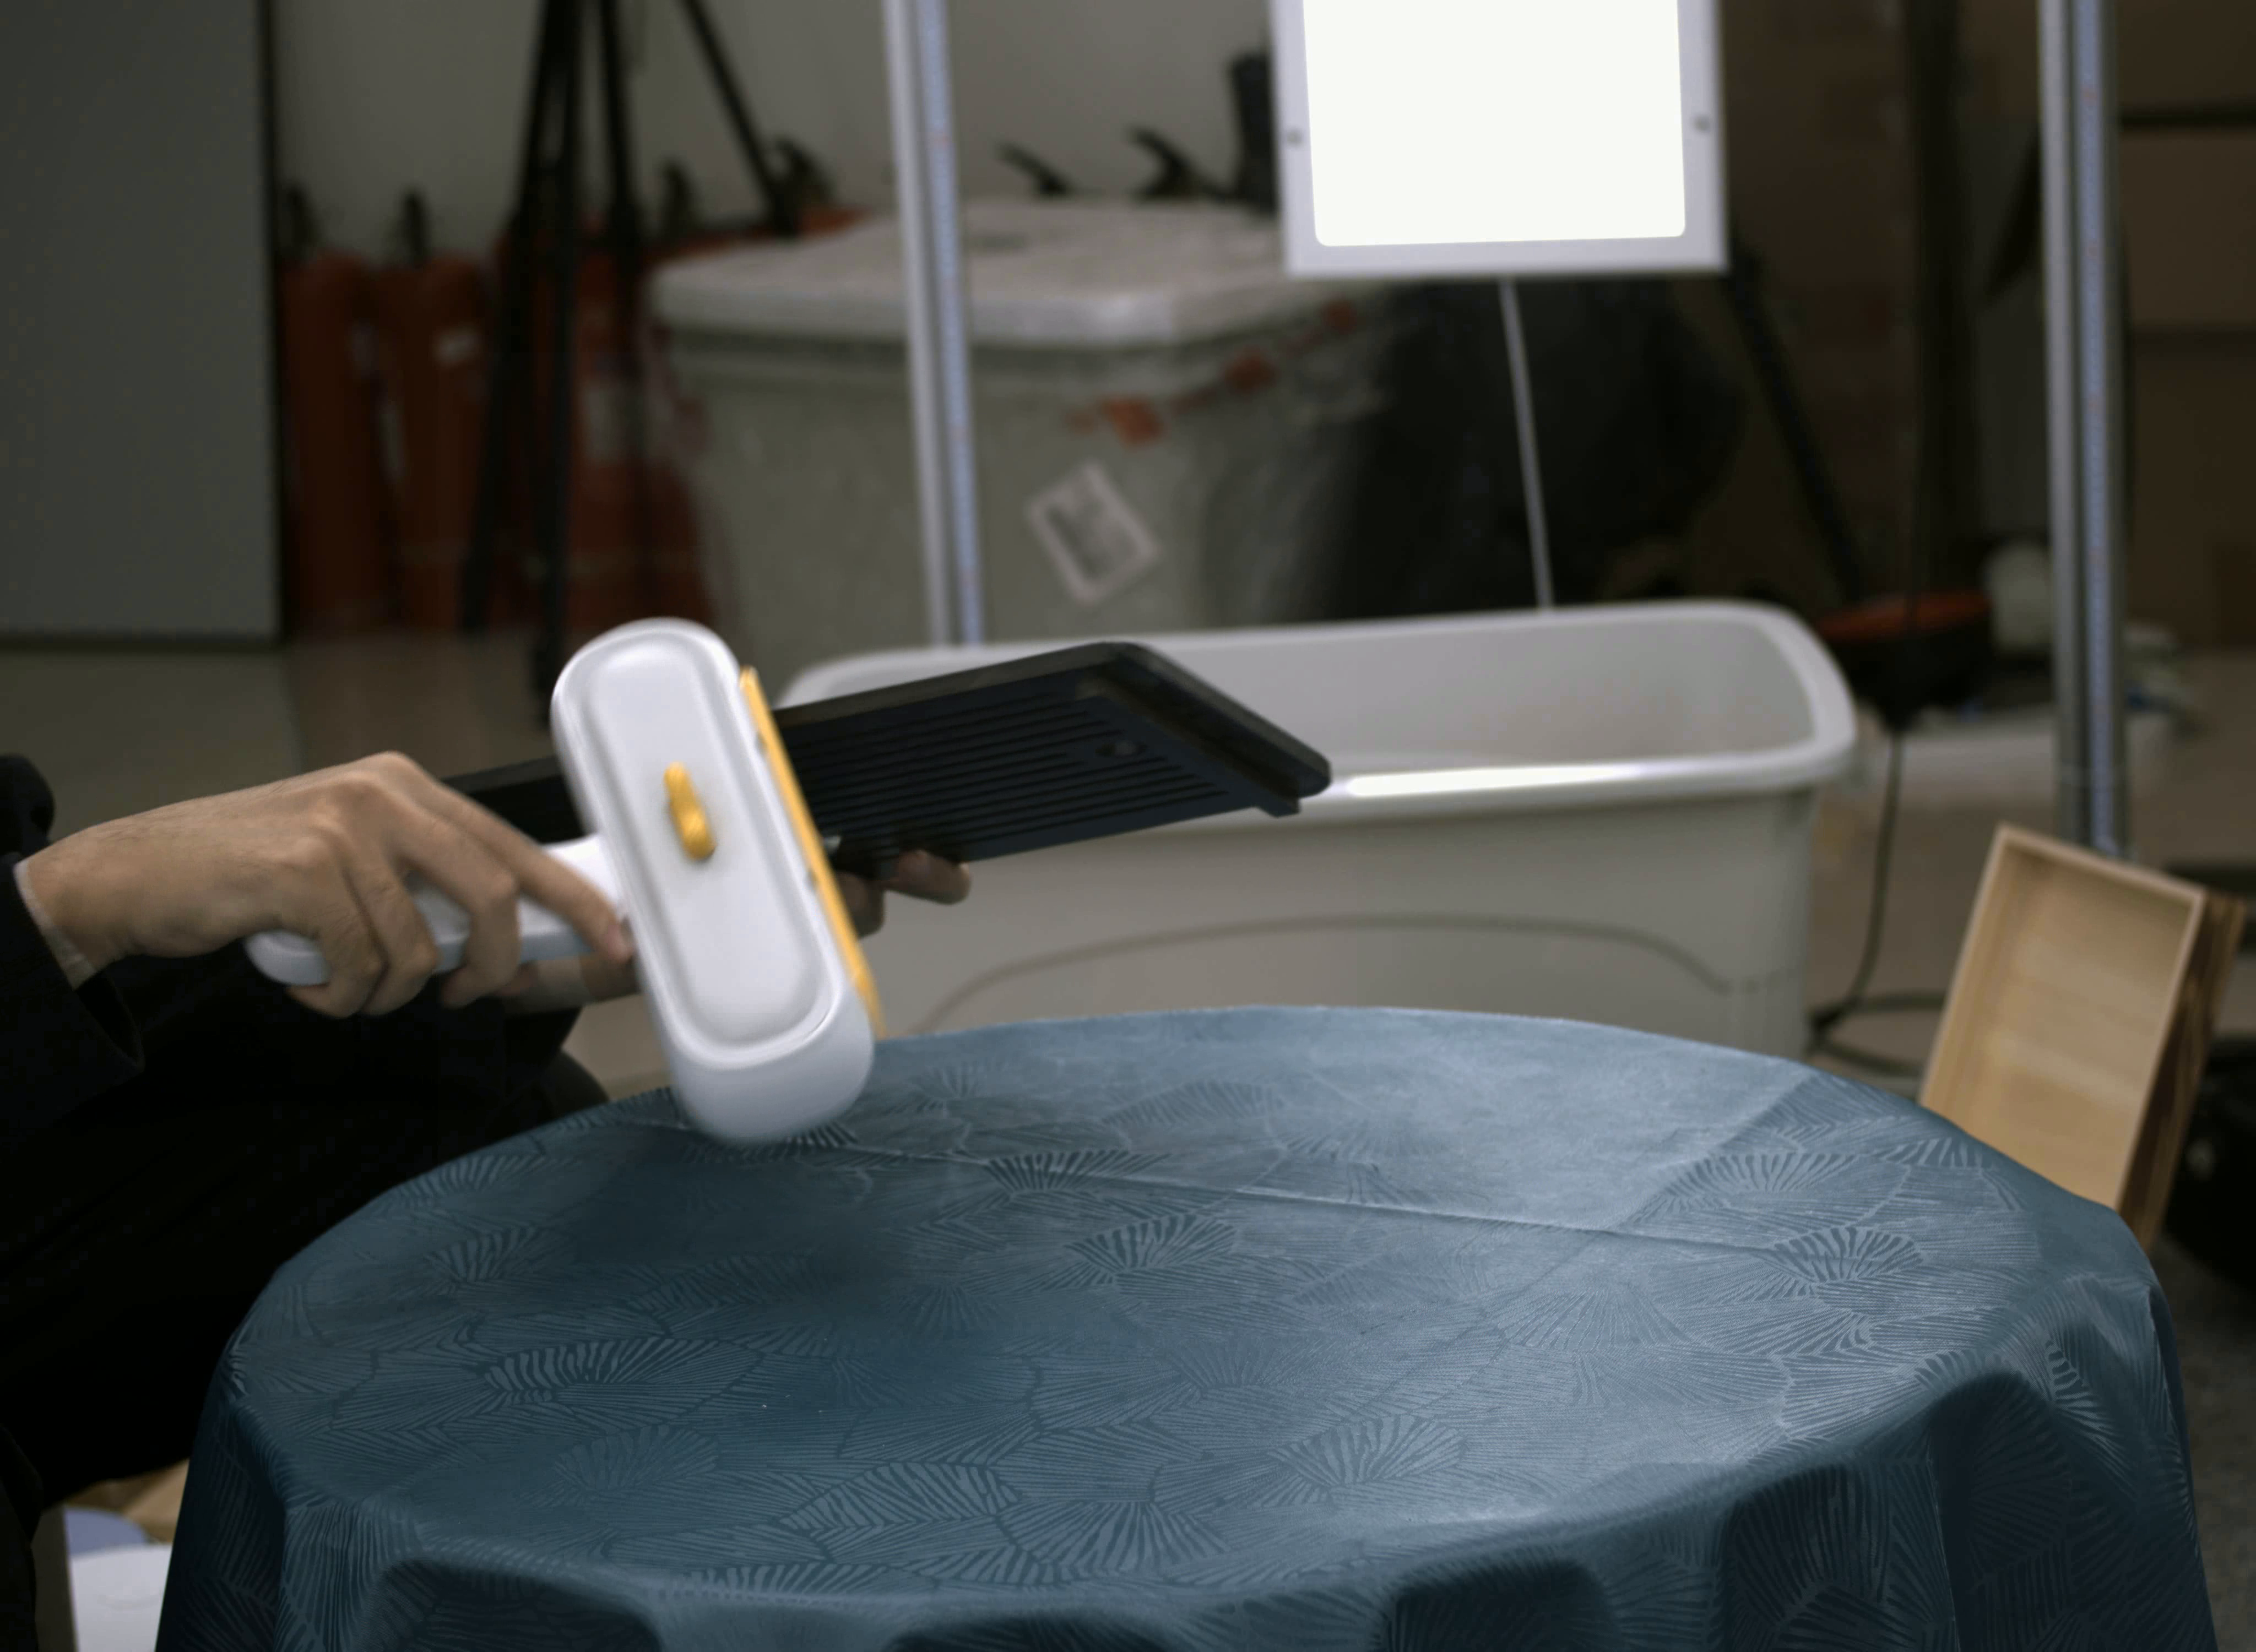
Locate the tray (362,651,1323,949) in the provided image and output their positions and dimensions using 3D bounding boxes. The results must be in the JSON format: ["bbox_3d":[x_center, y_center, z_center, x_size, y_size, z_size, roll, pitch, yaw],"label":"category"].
[{"bbox_3d":[-0.099,-0.004,1.924,0.311,0.018,0.167,-12,-20,28],"label":"tray"}]

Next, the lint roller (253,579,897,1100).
[{"bbox_3d":[-0.189,0.019,1.782,0.190,0.194,0.074,-21,-27,-11],"label":"lint roller"}]
